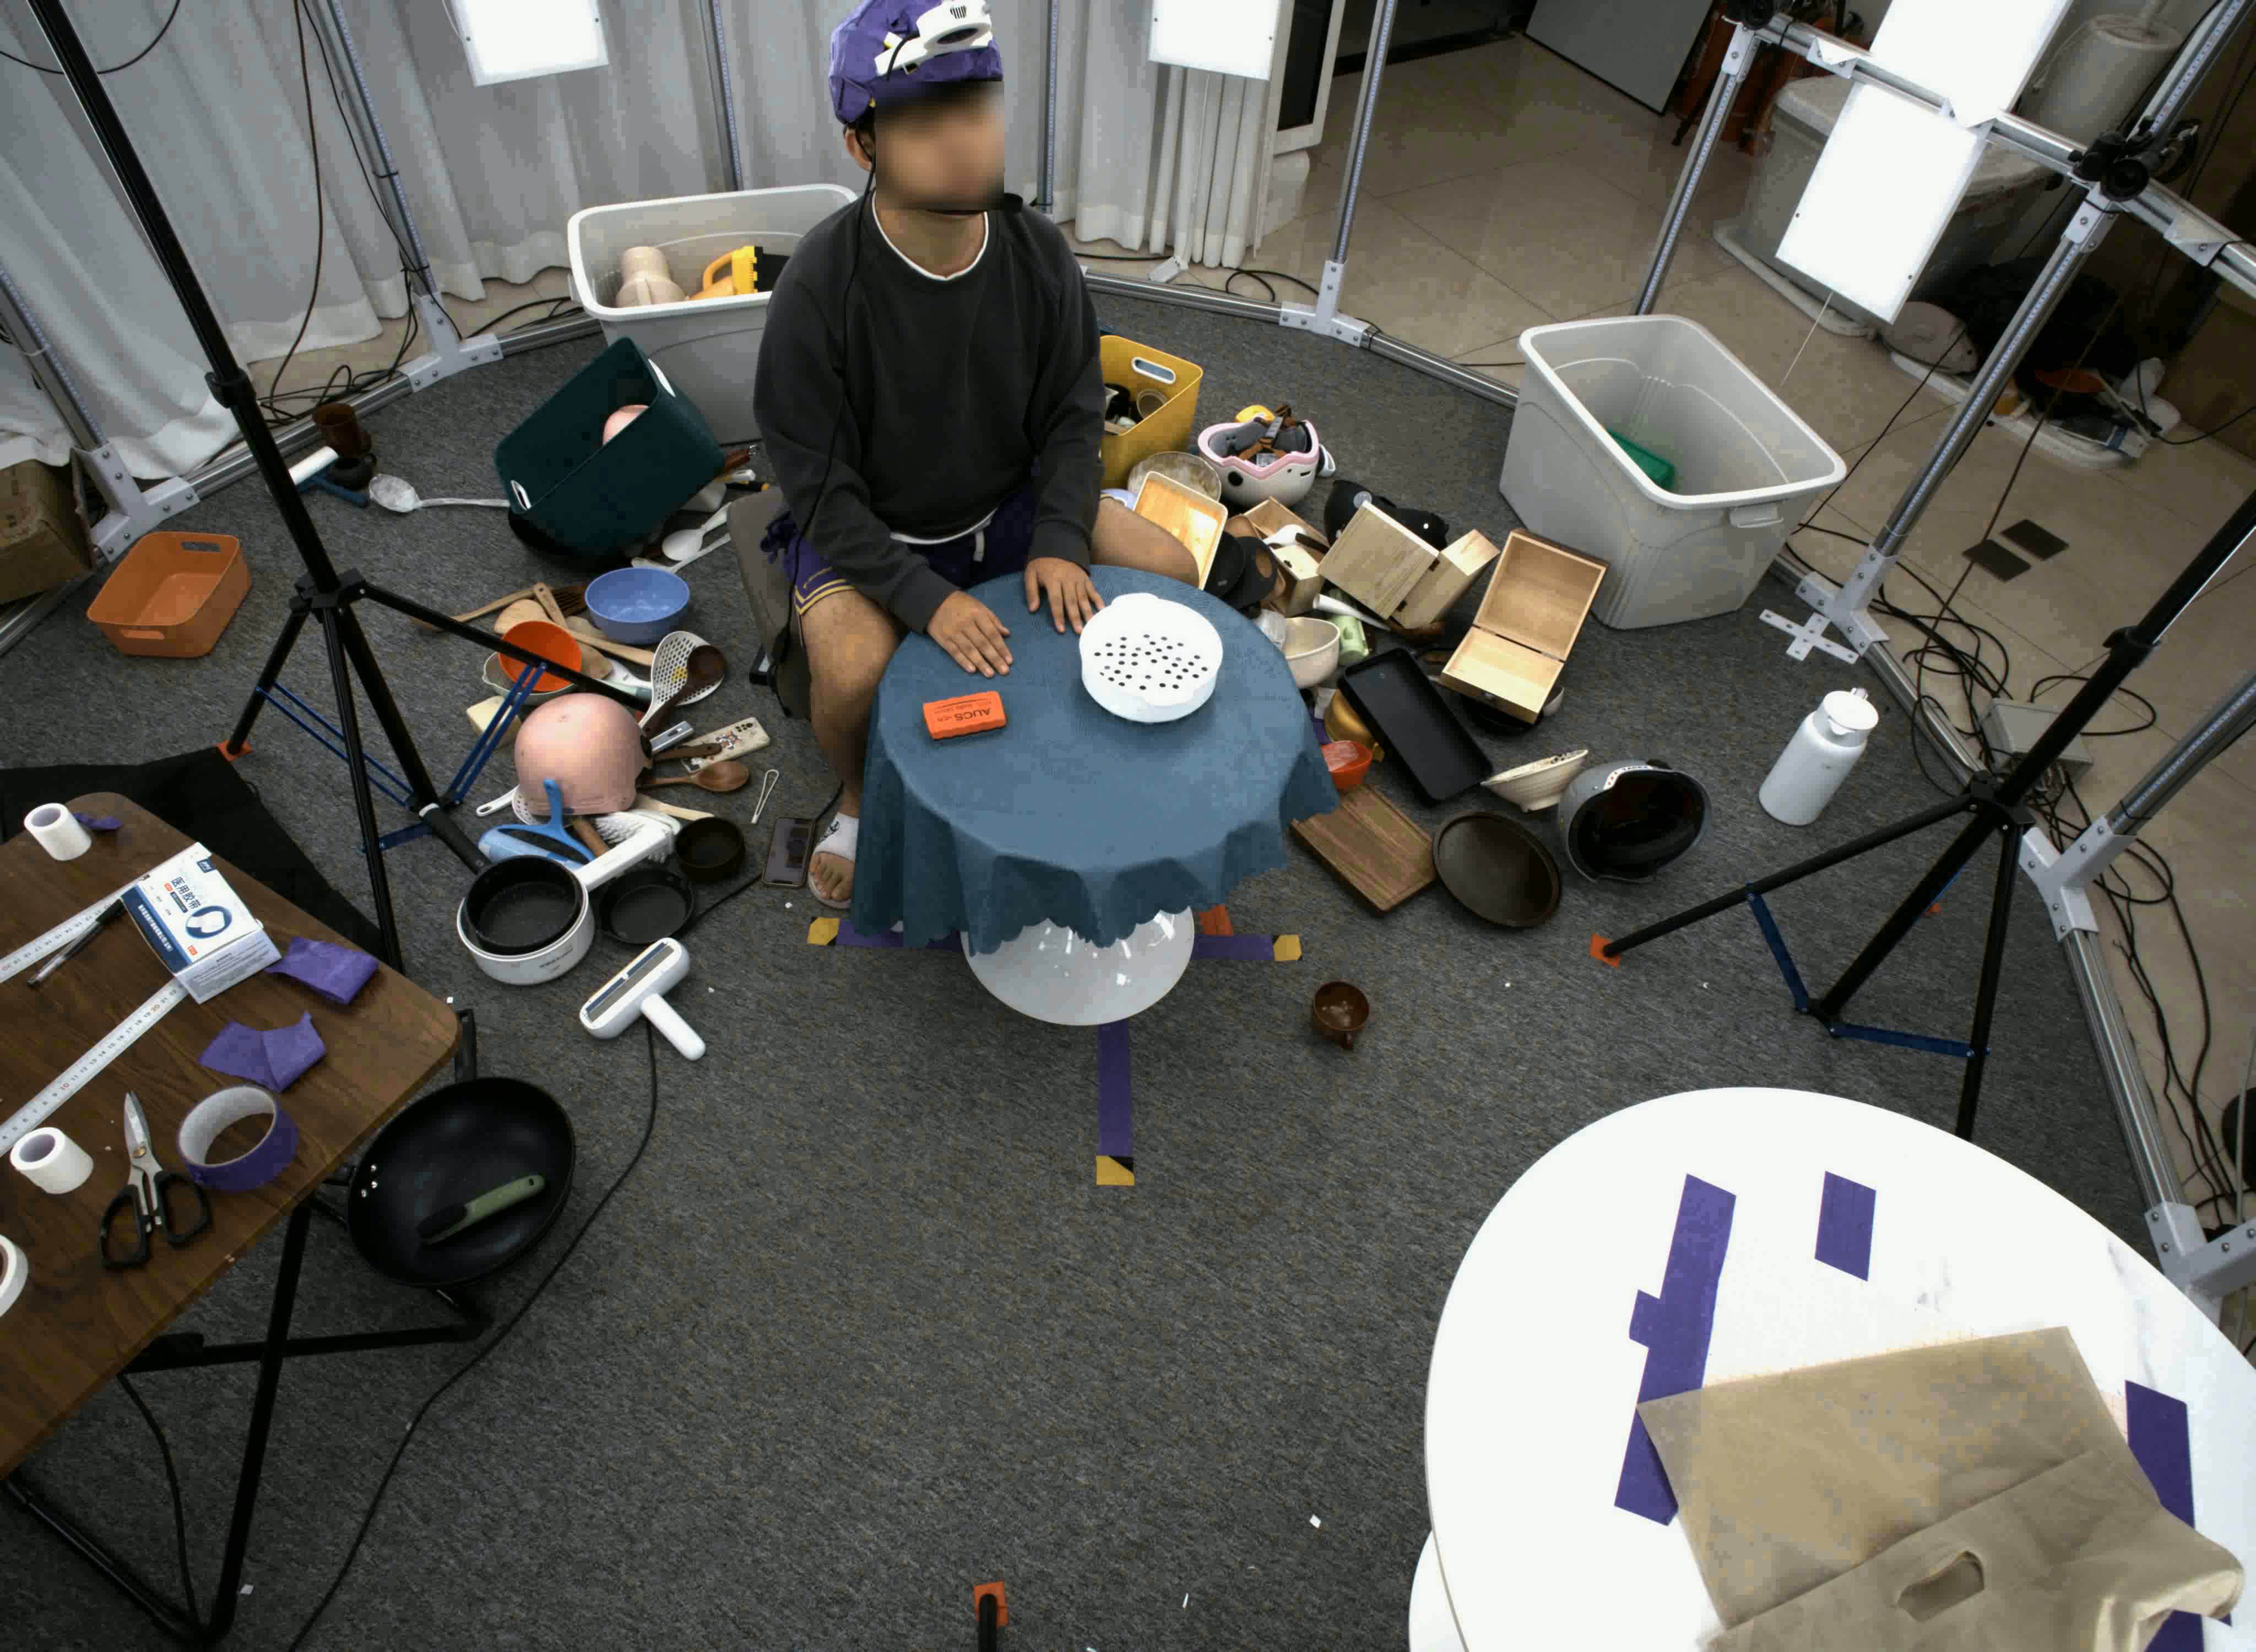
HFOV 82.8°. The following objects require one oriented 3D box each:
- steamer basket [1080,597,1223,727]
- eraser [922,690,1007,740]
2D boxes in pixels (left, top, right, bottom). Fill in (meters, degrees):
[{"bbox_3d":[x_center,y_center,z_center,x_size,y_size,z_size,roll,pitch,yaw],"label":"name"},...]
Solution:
[{"bbox_3d":[0.032,-0.229,1.827,0.202,0.067,0.236,-9,51,-11],"label":"steamer basket"},{"bbox_3d":[-0.224,-0.153,1.764,0.108,0.022,0.060,-14,46,-14],"label":"eraser"}]
